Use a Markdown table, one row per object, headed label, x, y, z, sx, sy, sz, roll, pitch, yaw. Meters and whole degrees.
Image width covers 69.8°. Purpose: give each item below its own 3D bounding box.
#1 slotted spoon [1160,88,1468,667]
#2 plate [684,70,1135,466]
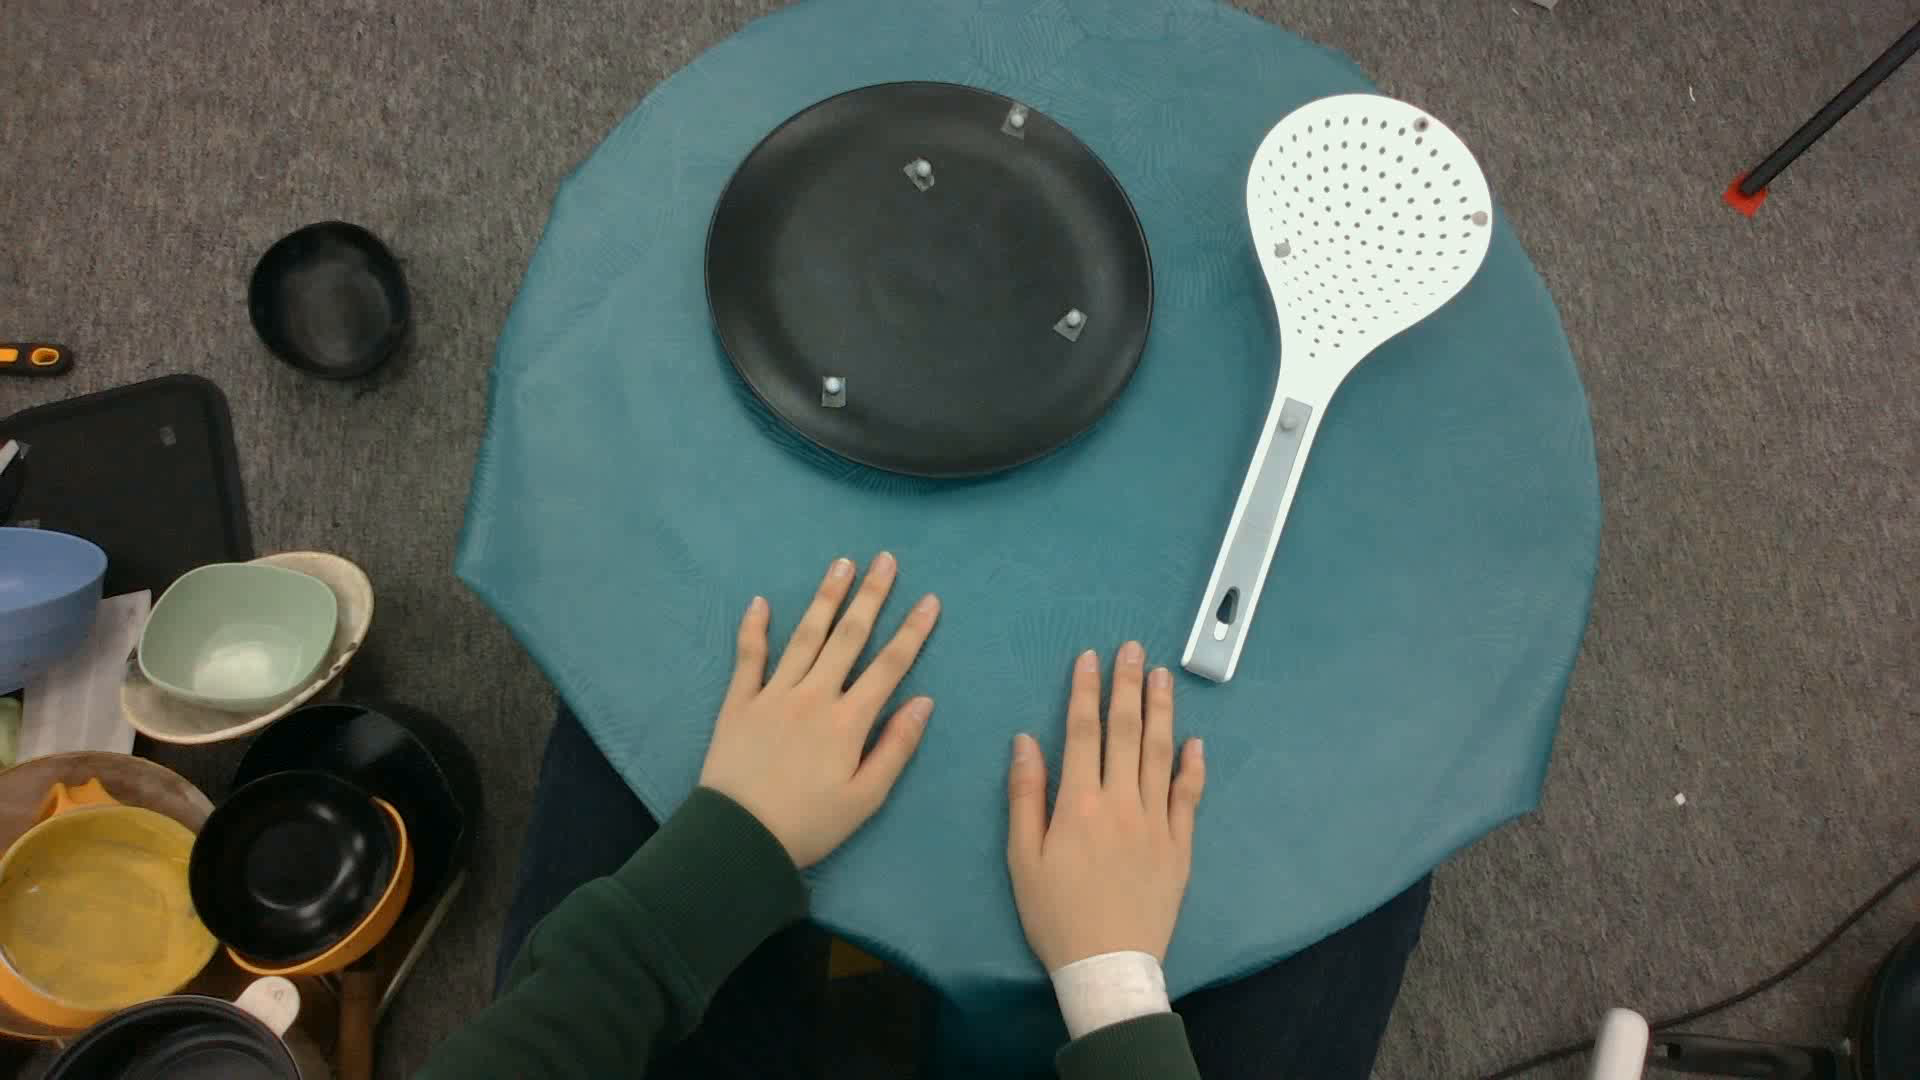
| label | x | y | z | sx | sy | sz | roll | pitch | yaw |
| --- | --- | --- | --- | --- | --- | --- | --- | --- | --- |
| slotted spoon | 0.177 | -0.094 | 0.744 | 0.136 | 0.045 | 0.351 | 21 | 69 | 3 |
| plate | -0.026 | -0.149 | 0.749 | 0.244 | 0.023 | 0.245 | 2 | 70 | -7 |
